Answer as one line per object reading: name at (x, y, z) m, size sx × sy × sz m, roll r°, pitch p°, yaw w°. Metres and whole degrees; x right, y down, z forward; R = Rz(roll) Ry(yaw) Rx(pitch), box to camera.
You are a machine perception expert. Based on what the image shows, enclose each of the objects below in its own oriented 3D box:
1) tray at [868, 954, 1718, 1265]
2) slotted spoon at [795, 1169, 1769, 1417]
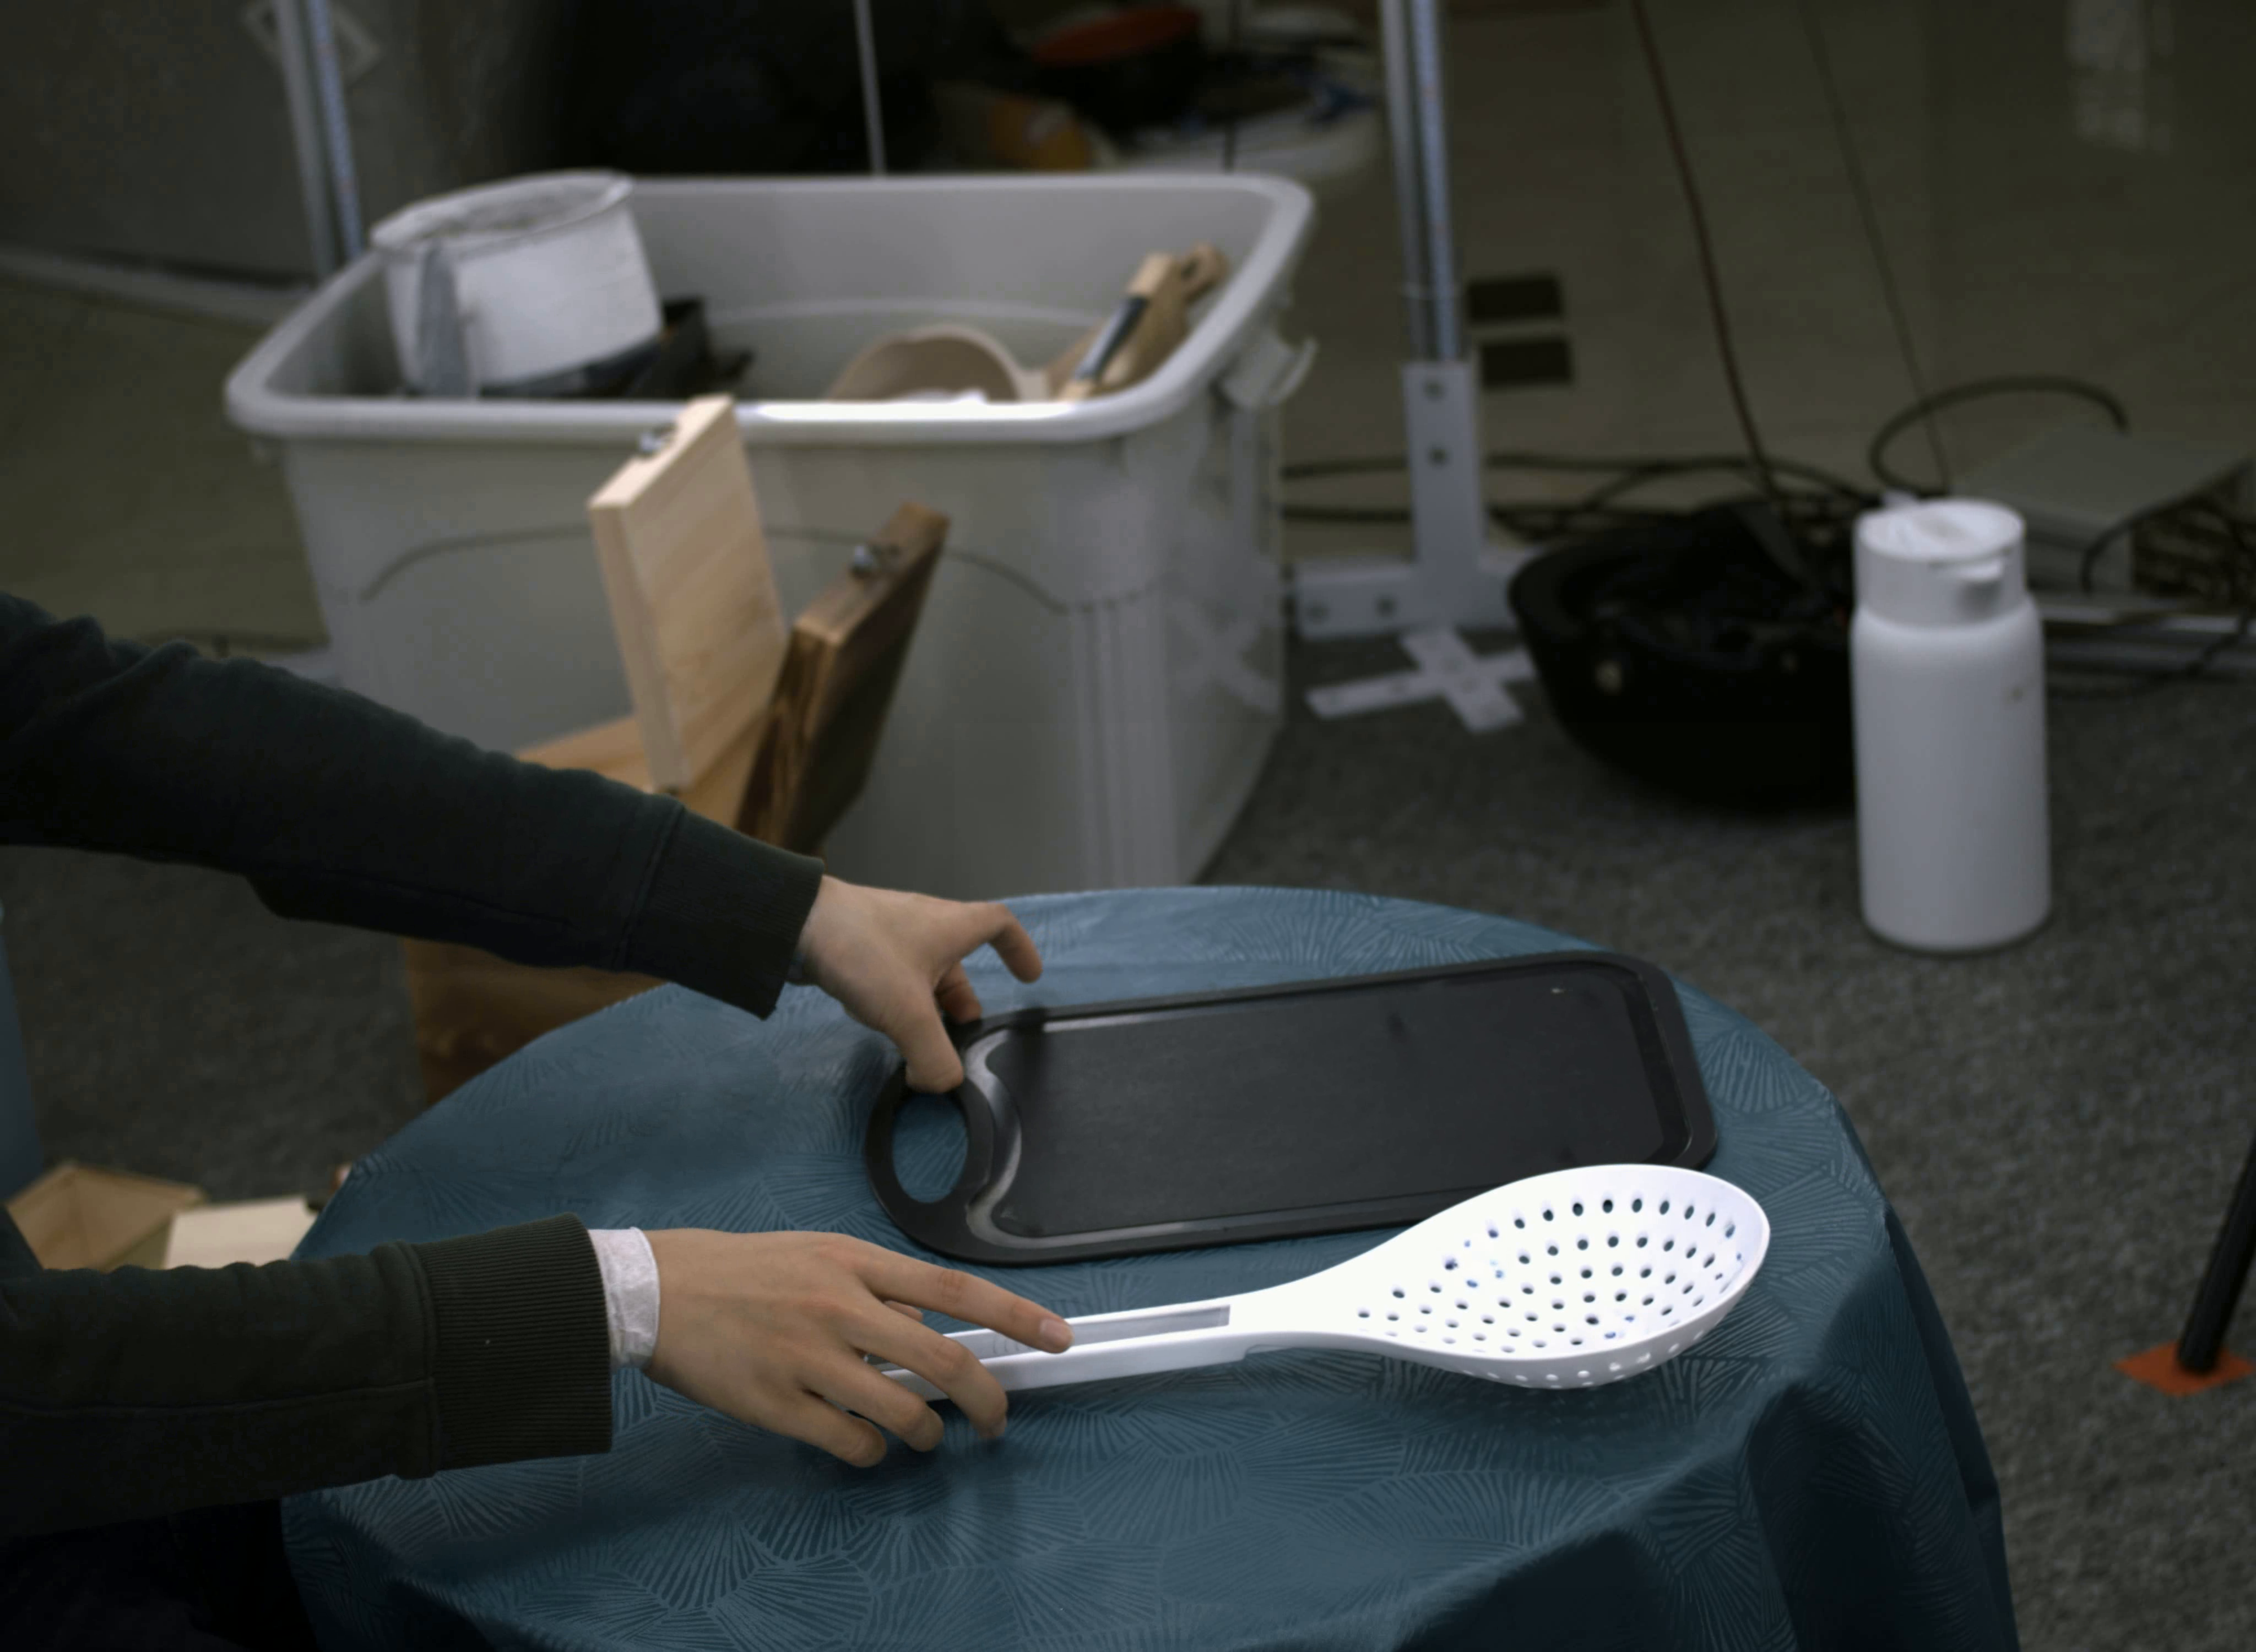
tray at (0.060, 0.108, 2.198) m, size 0.325 × 0.010 × 0.208 m, roll -7°, pitch 24°, yaw 1°
slotted spoon at (0.053, 0.175, 2.008) m, size 0.349 × 0.046 × 0.134 m, roll -4°, pitch 23°, yaw 6°
